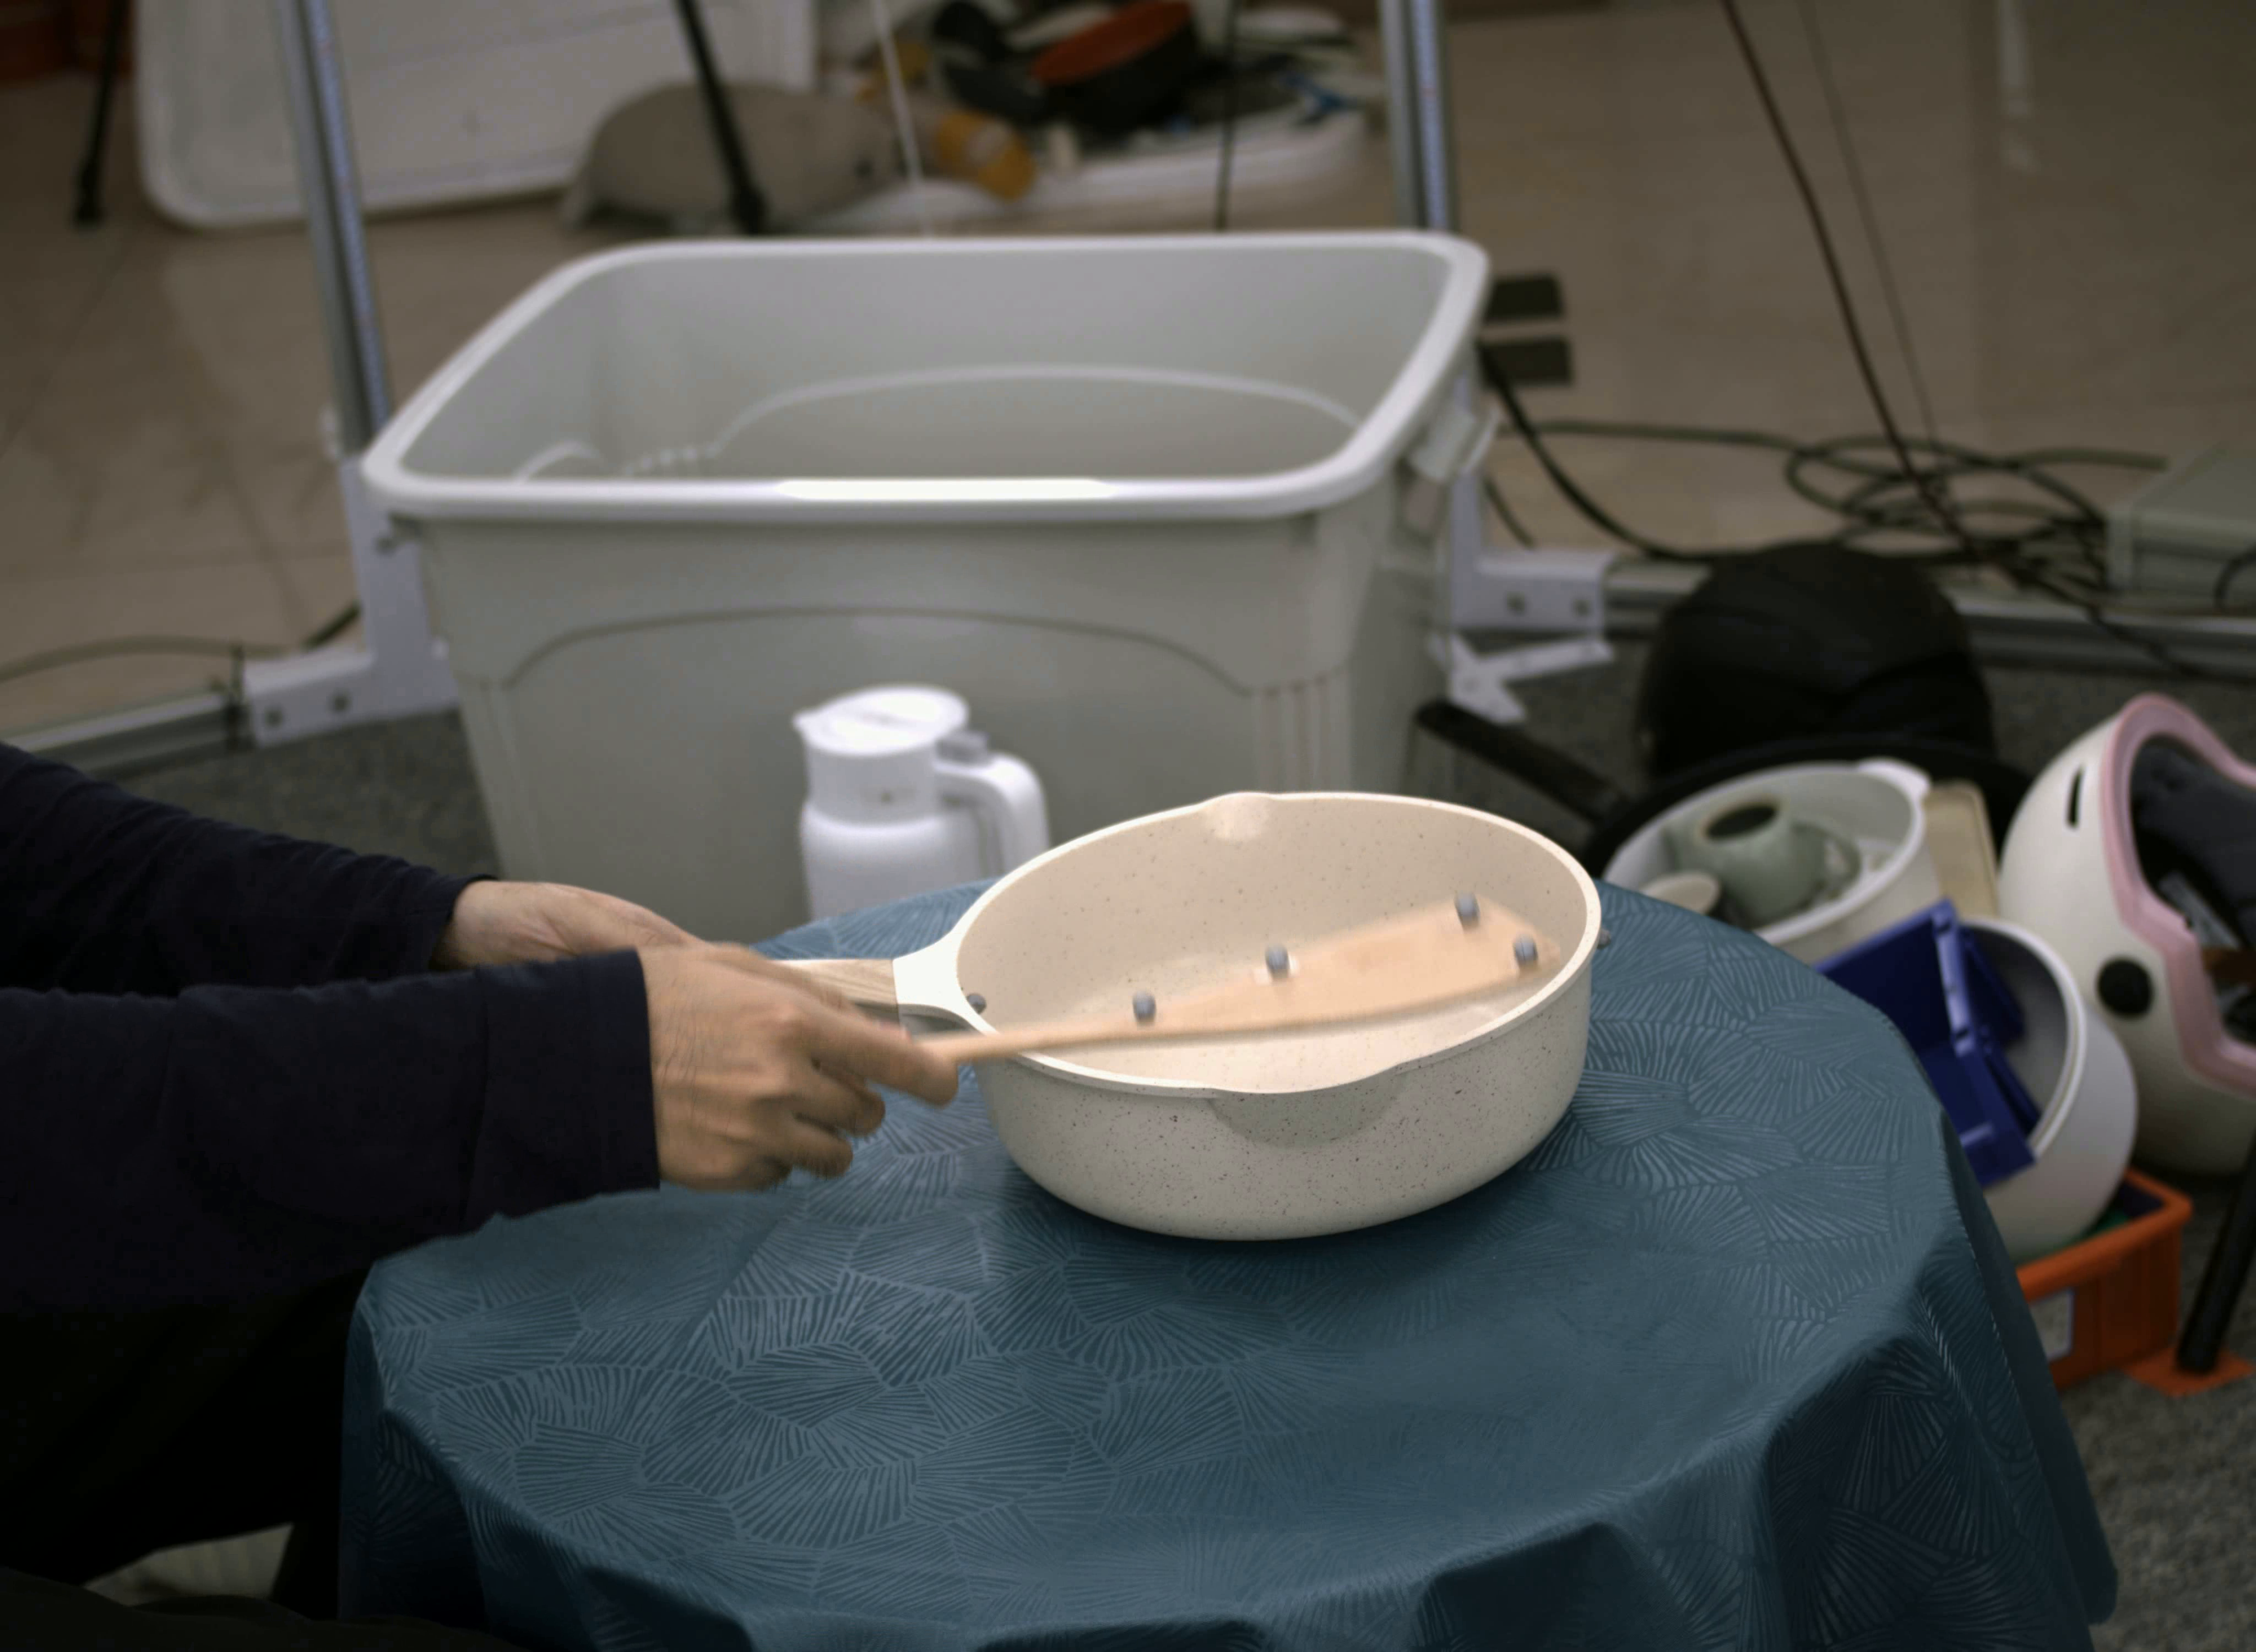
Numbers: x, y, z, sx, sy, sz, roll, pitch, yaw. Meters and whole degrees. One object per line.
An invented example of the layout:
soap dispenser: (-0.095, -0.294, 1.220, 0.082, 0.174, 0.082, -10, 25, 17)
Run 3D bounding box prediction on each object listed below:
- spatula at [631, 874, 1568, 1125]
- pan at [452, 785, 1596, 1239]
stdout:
spatula: (-0.012, 0.062, 1.963, 0.327, 0.017, 0.079, -11, 23, -10)
pan: (-0.035, 0.081, 2.166, 0.434, 0.103, 0.259, -8, 26, -3)
